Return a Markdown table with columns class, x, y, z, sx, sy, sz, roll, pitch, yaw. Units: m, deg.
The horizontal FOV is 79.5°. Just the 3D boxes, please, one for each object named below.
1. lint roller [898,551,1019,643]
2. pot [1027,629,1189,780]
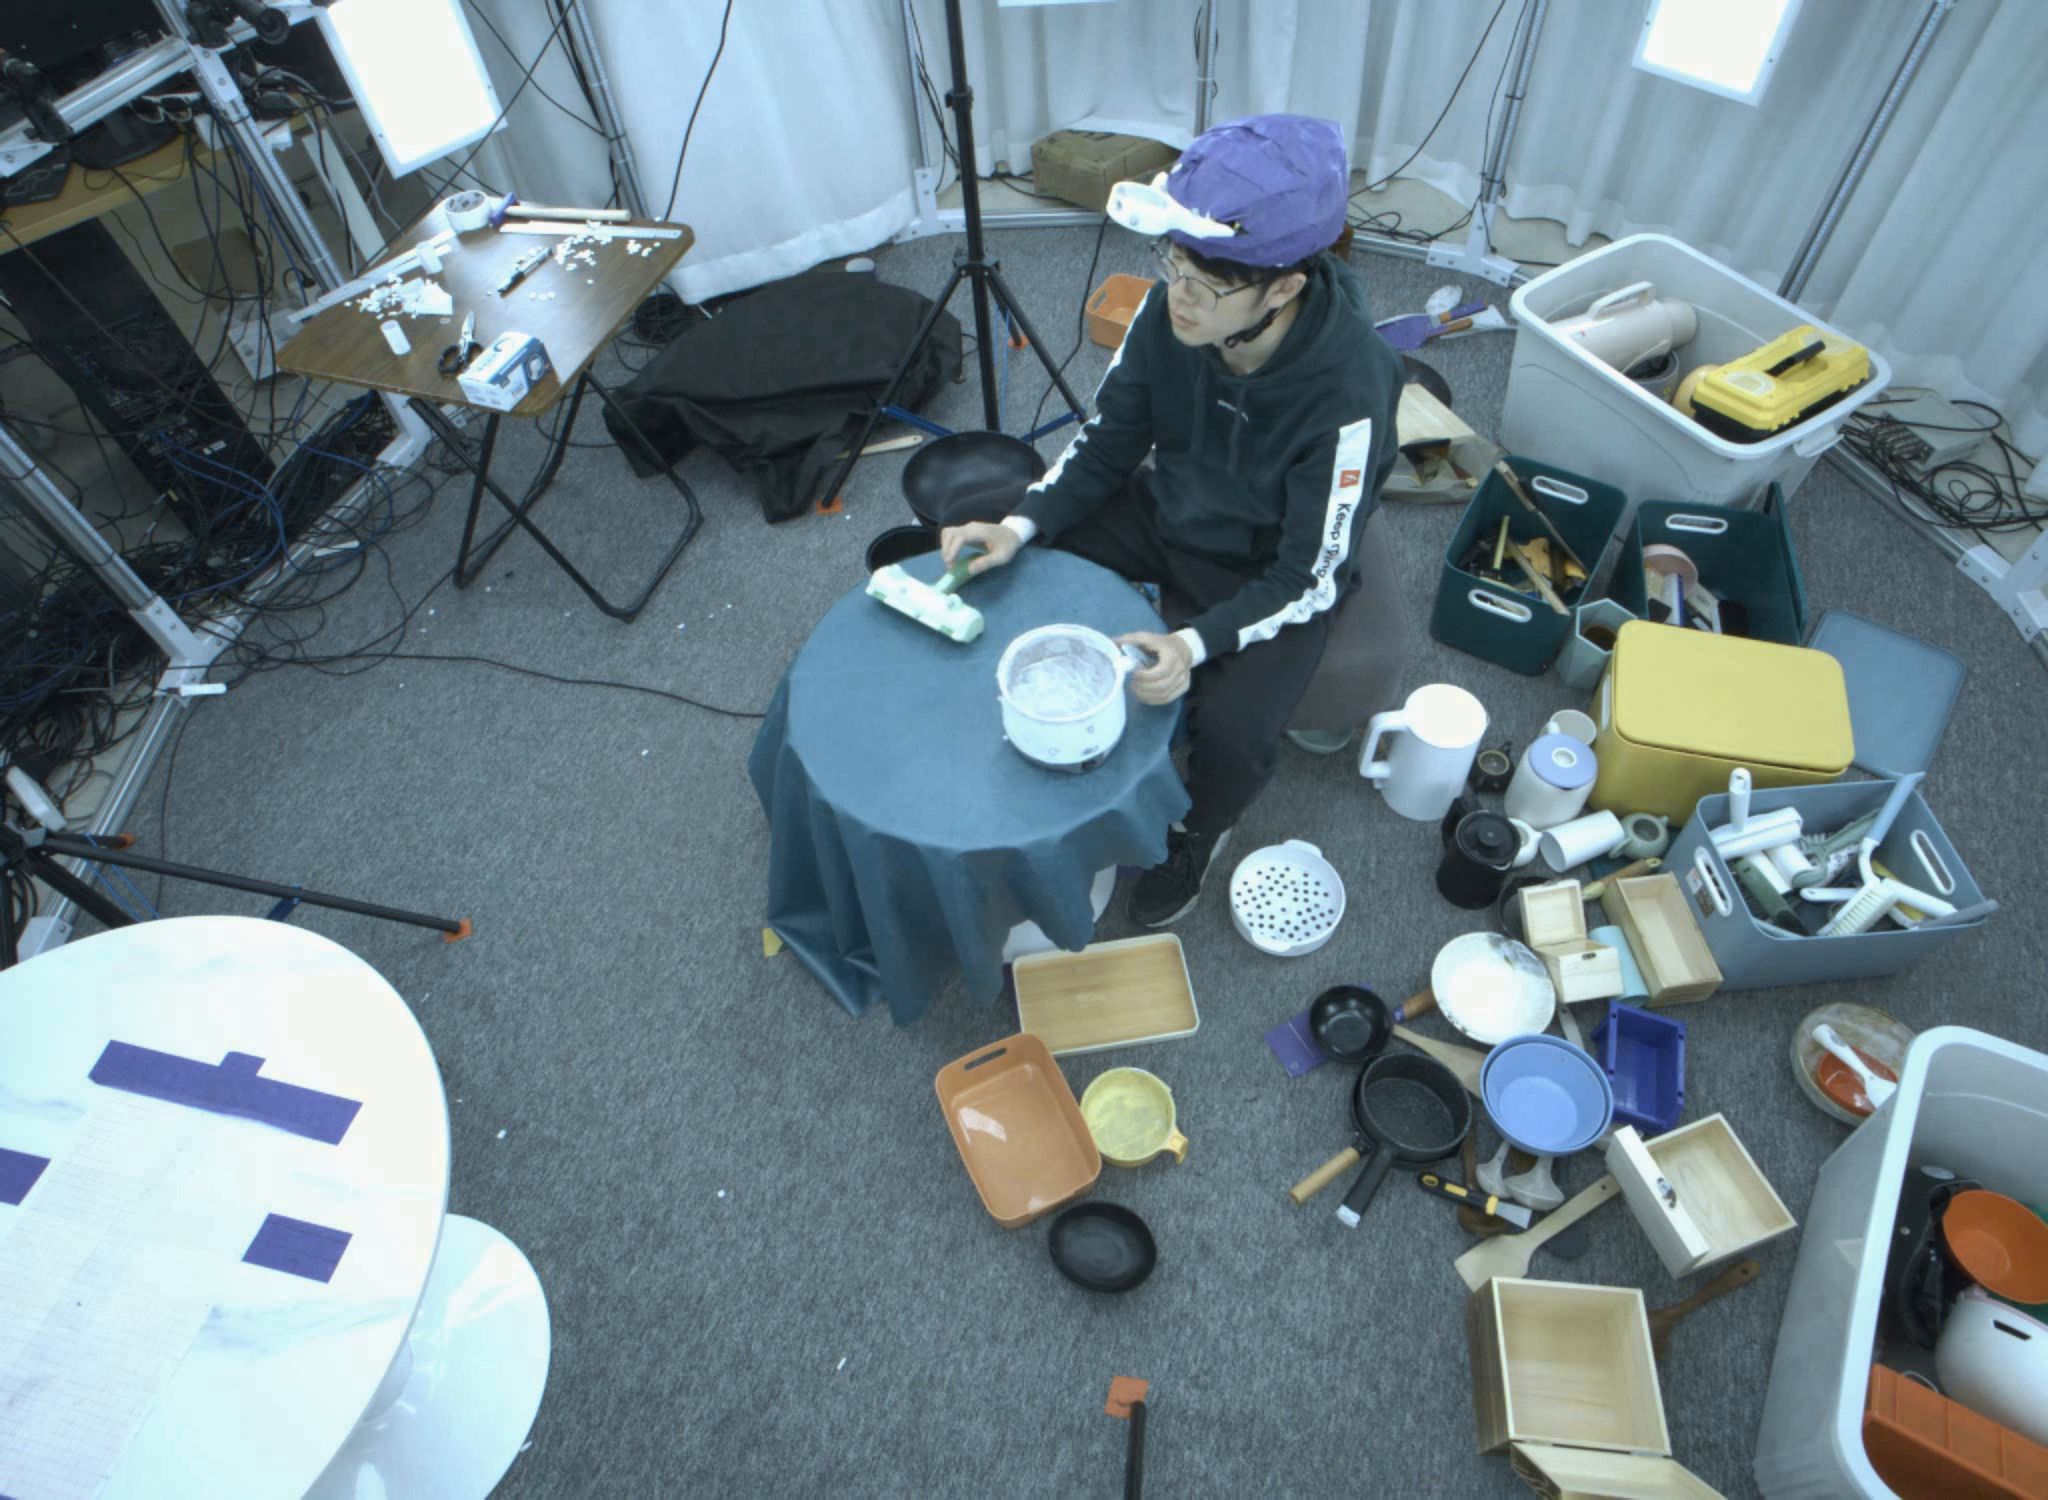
| class | x | y | z | sx | sy | sz | roll | pitch | yaw |
| --- | --- | --- | --- | --- | --- | --- | --- | --- | --- |
| lint roller | -0.072 | -0.271 | 1.931 | 0.195 | 0.083 | 0.184 | 31 | 67 | 22 |
| pot | 0.123 | -0.072 | 1.744 | 0.235 | 0.138 | 0.175 | -20 | 57 | -10 |
